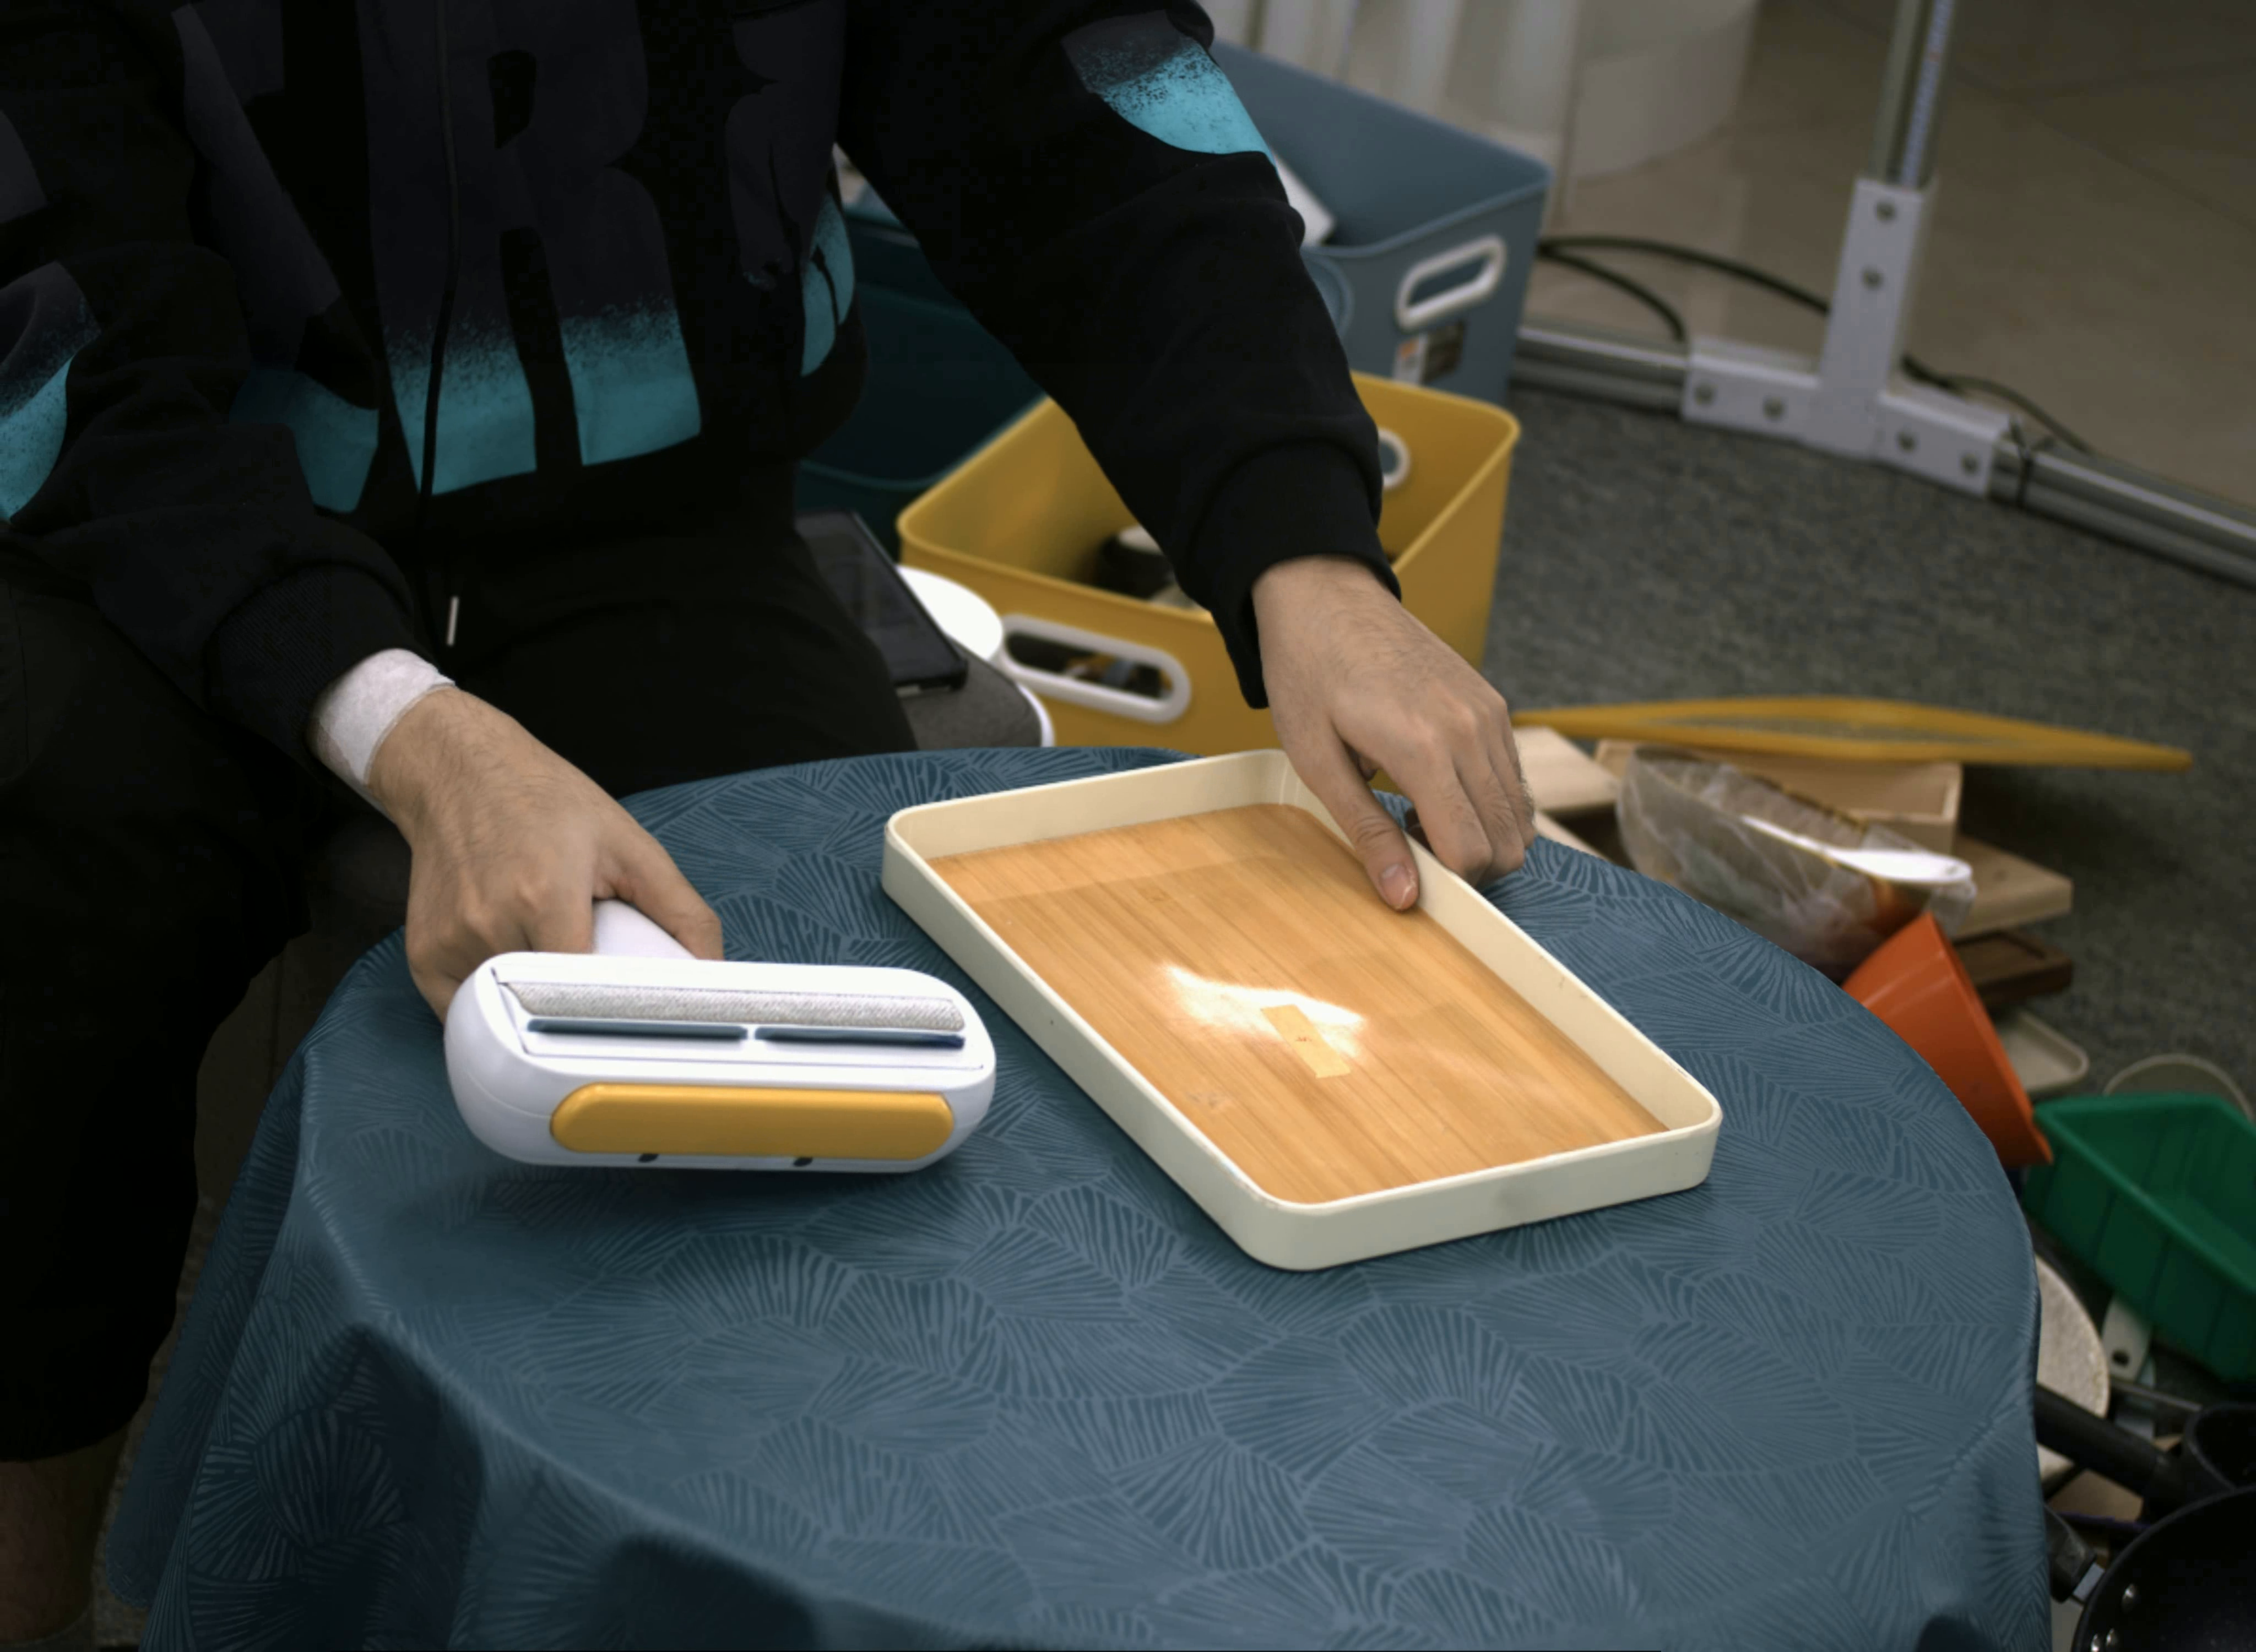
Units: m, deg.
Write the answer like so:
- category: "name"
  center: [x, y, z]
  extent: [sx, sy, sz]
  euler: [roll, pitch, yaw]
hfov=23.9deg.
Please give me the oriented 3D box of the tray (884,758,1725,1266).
- category: "tray"
  center: [0.058, 0.061, 1.906]
  extent: [0.190, 0.027, 0.303]
  euler: [-8, 30, -28]

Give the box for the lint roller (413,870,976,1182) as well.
- category: "lint roller"
  center: [-0.164, 0.055, 1.812]
  extent: [0.191, 0.074, 0.194]
  euler: [1, 30, -24]
